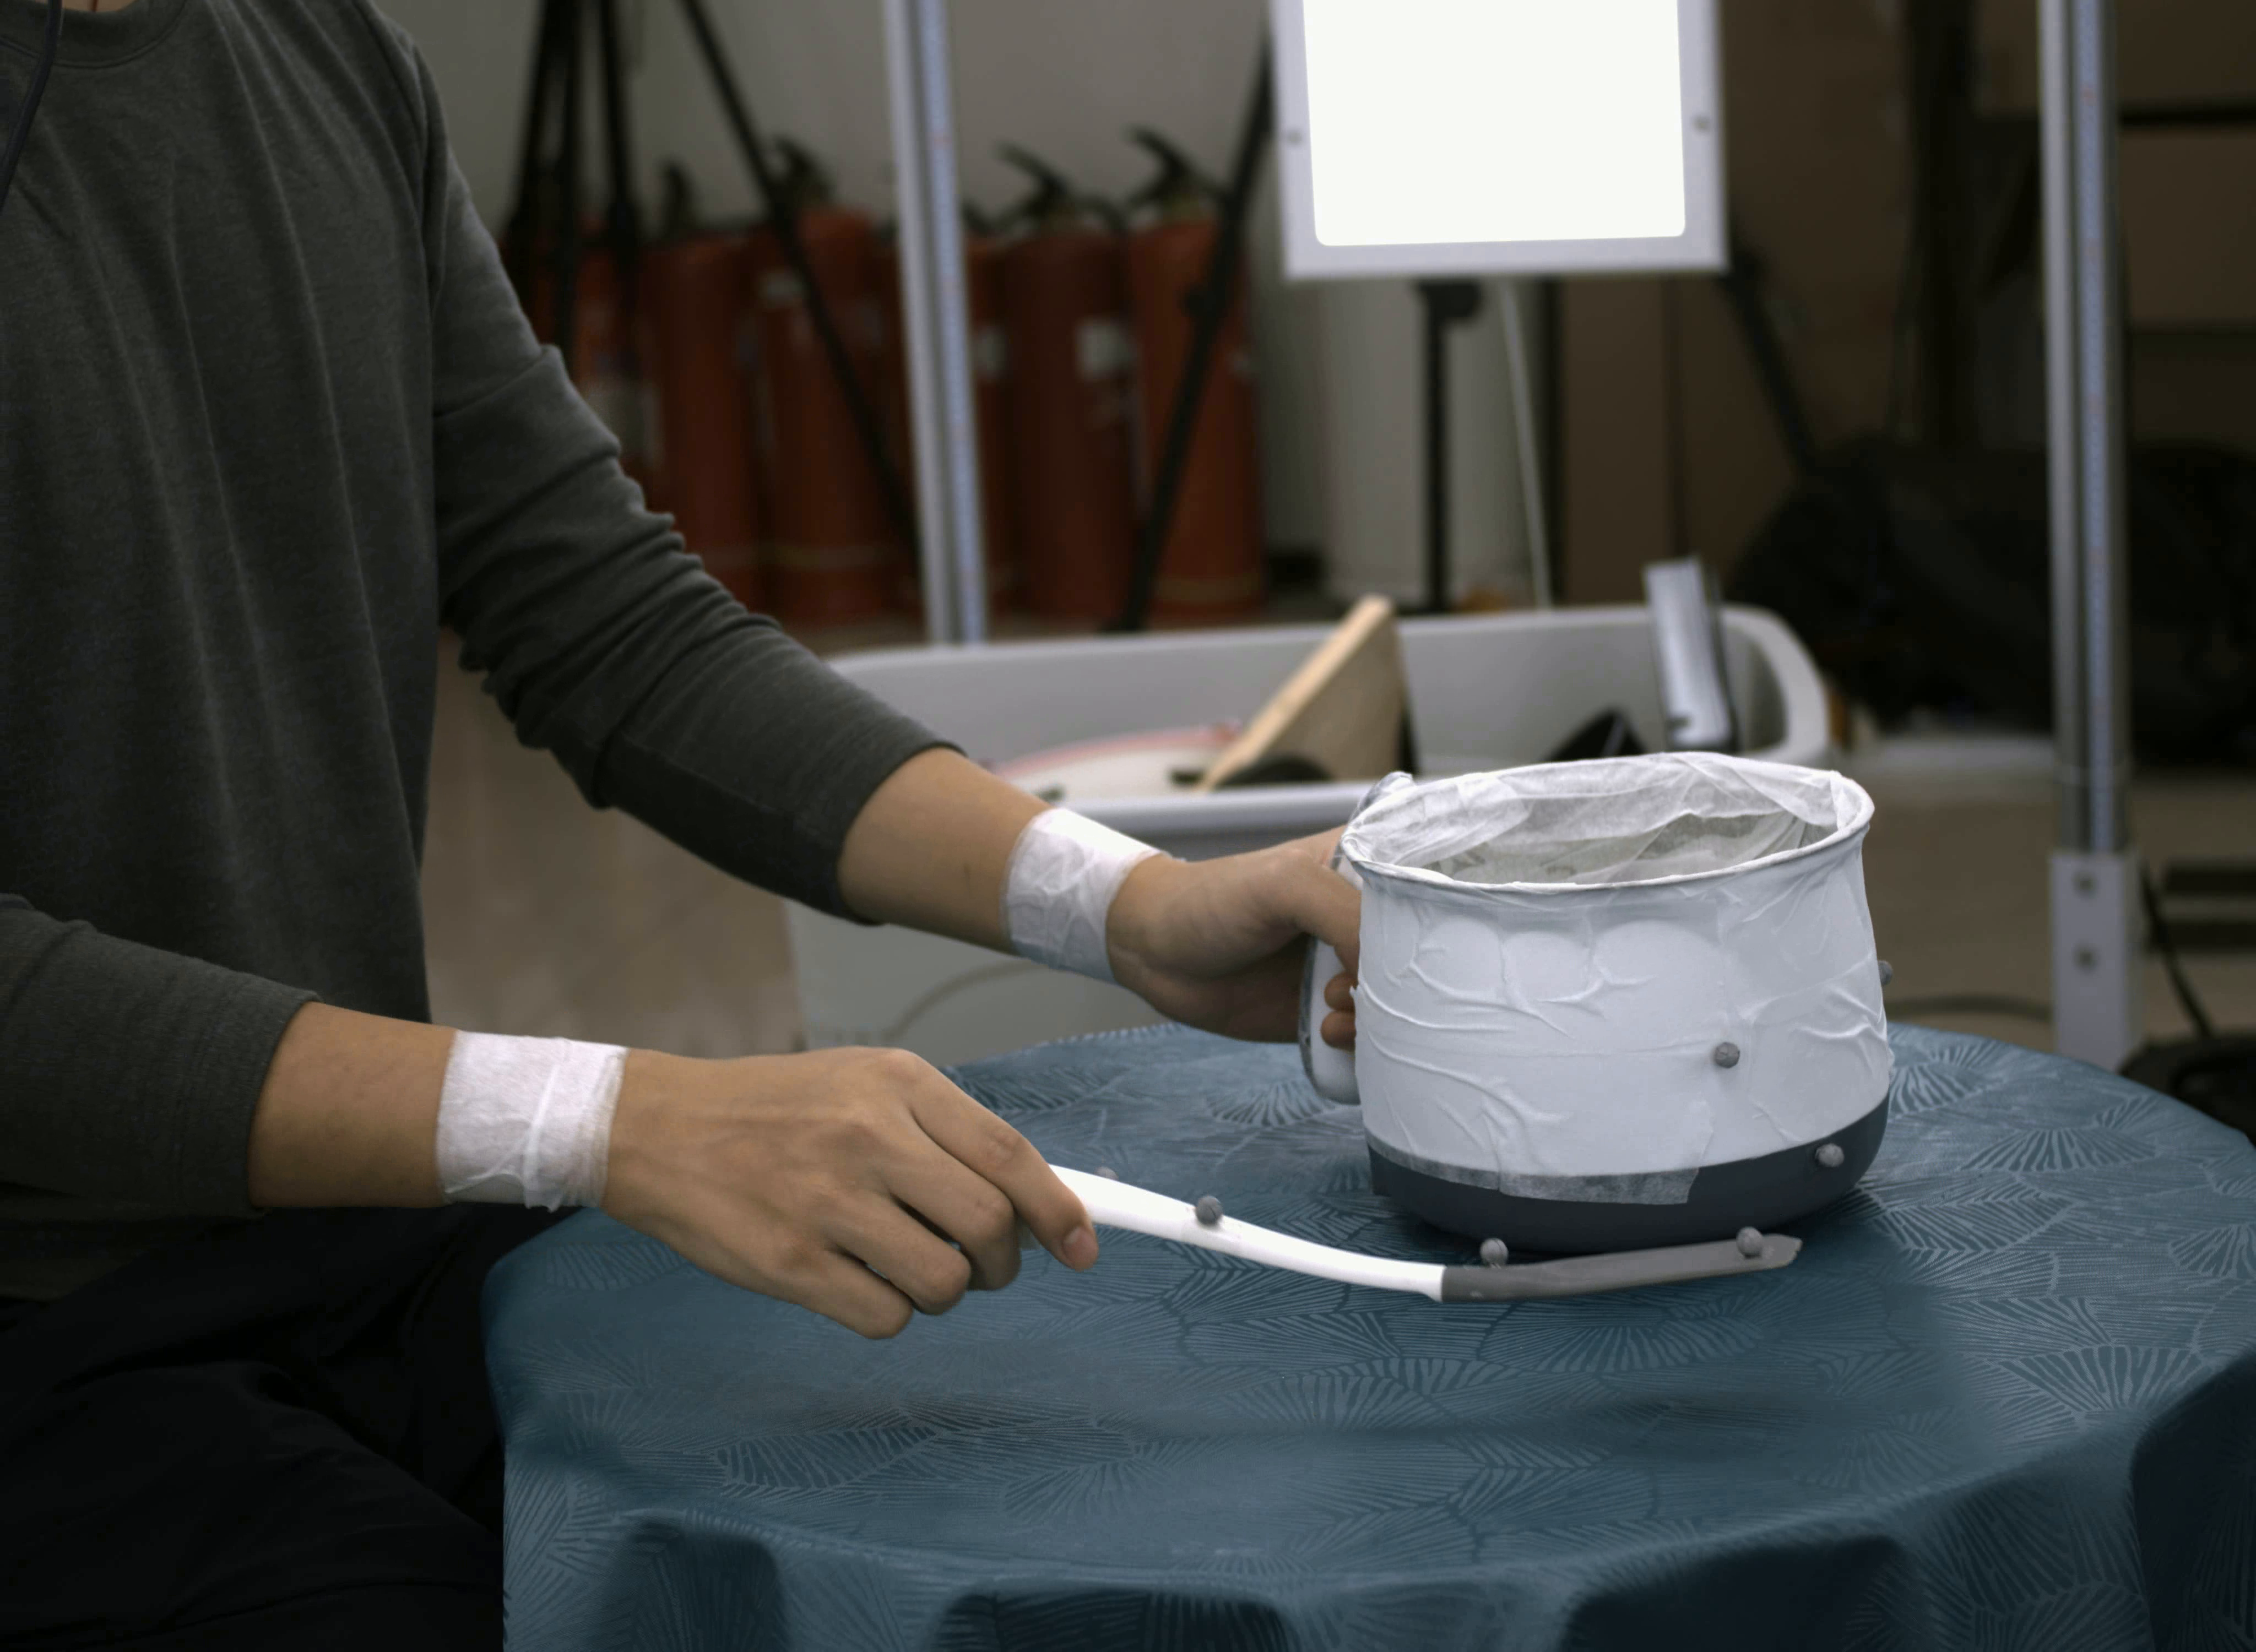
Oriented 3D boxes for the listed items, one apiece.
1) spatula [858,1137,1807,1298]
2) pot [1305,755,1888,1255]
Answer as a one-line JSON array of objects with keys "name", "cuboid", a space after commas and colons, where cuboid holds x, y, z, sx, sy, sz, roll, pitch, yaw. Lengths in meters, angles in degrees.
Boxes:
[{"name": "spatula", "cuboid": [0.060, 0.122, 1.658, 0.290, 0.032, 0.058, 4, 3, 14]}, {"name": "pot", "cuboid": [0.145, 0.056, 1.850, 0.174, 0.137, 0.239, -16, 17, -39]}]
